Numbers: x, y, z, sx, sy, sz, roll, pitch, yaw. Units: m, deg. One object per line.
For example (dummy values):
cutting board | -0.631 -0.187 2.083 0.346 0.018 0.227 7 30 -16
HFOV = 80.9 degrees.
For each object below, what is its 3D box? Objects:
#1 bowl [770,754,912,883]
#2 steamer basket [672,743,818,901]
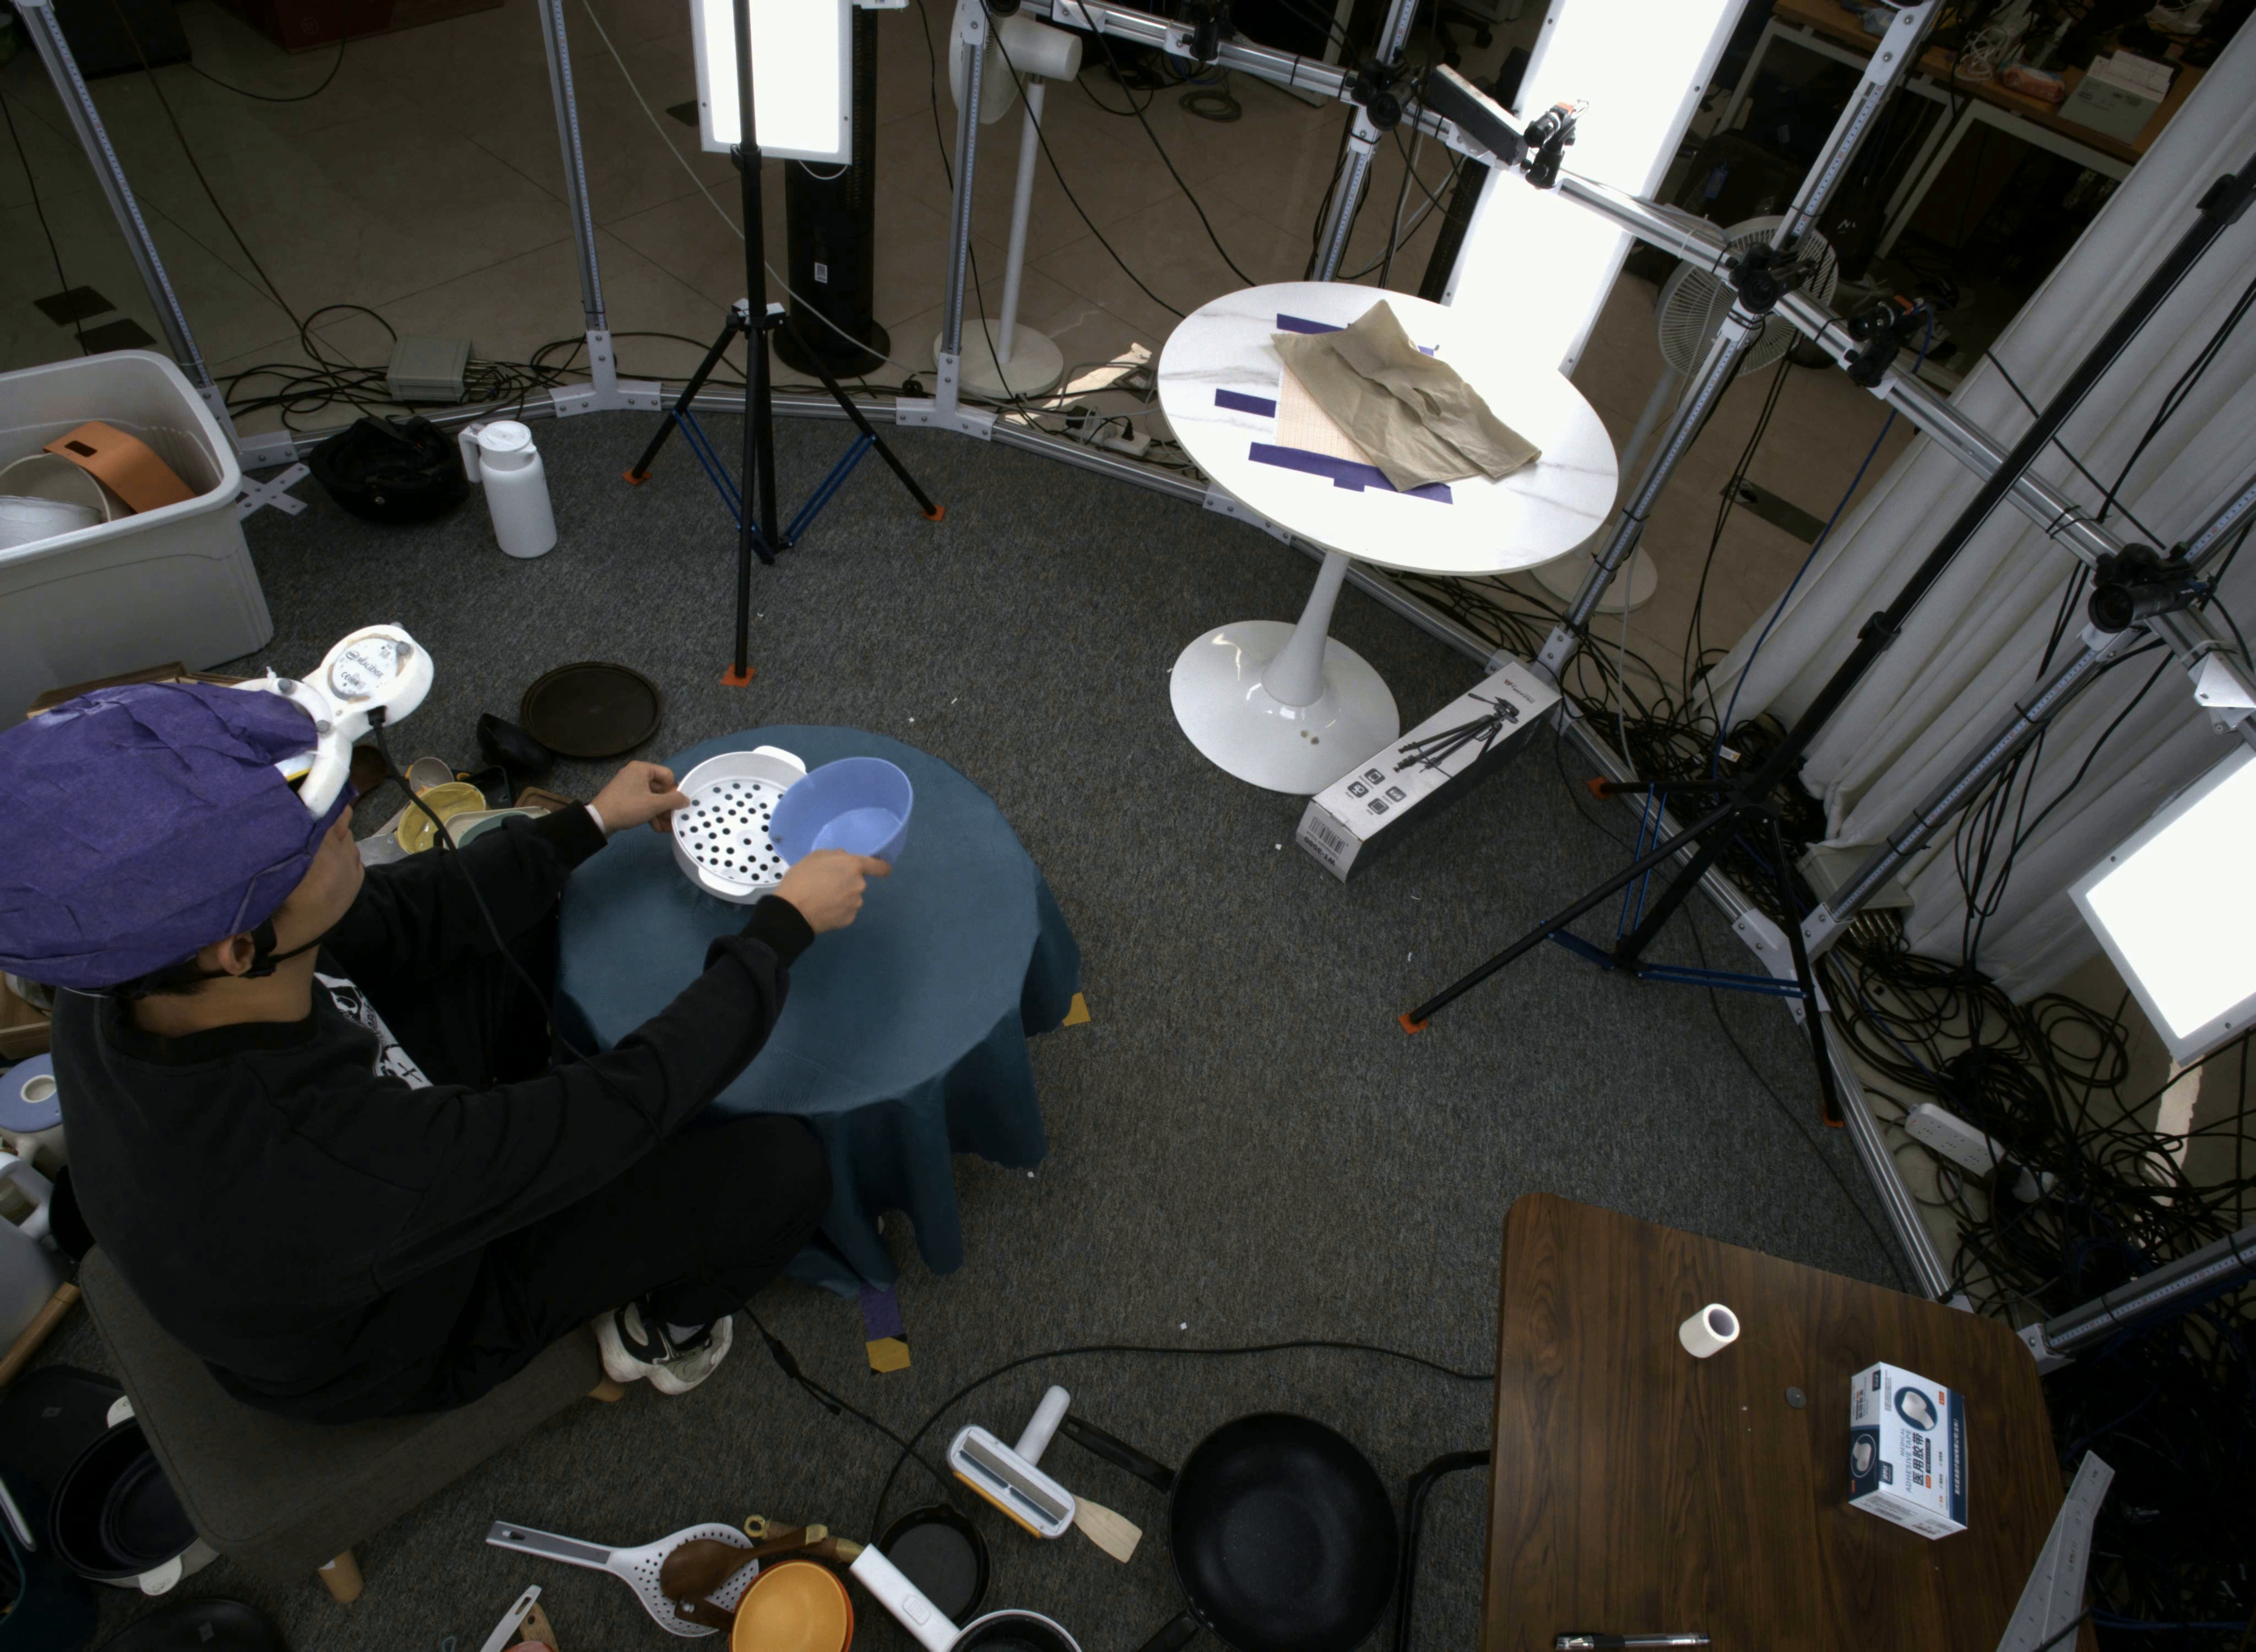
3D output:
bowl | -0.330 0.000 1.539 0.173 0.073 0.173 -6 49 9
steamer basket | -0.481 -0.001 1.653 0.203 0.070 0.227 21 51 -13
